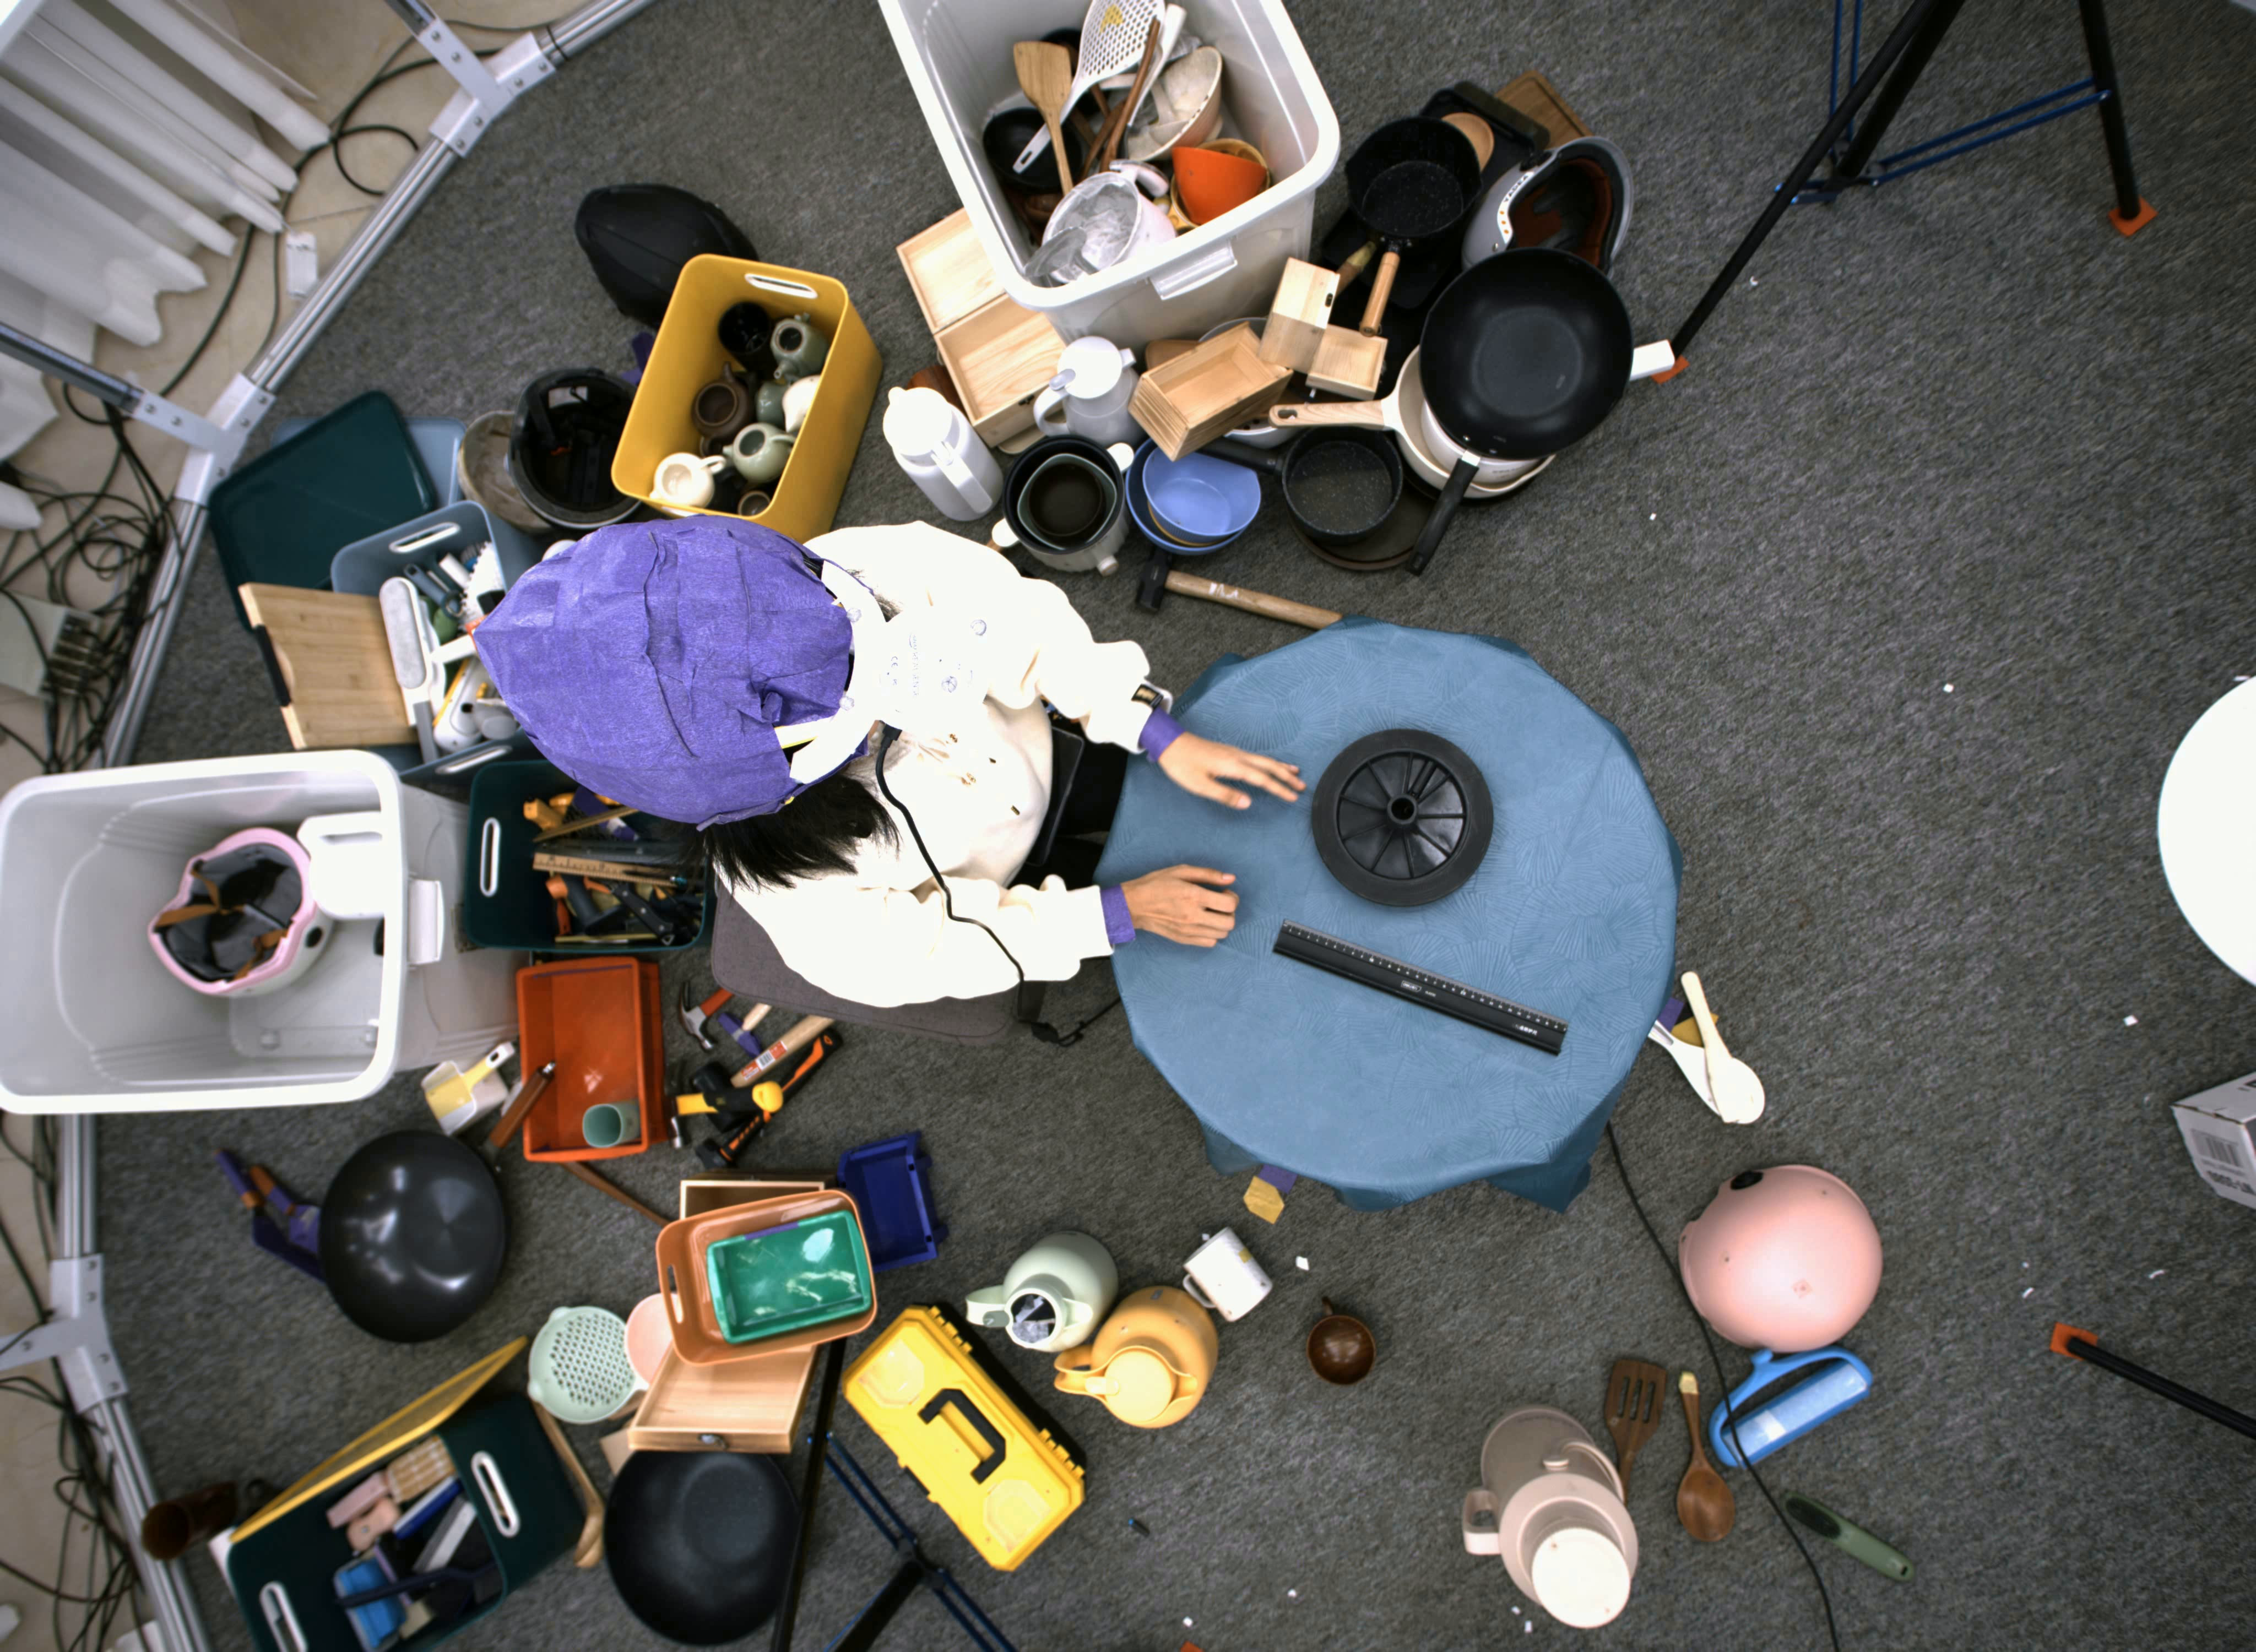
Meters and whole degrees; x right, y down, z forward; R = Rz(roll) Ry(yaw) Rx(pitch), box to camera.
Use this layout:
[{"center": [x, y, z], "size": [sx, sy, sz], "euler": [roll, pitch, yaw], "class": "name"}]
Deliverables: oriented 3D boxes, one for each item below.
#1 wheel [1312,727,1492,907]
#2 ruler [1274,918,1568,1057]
[{"center": [0.283, -0.014, 1.424], "size": [0.188, 0.079, 0.189], "euler": [7, 86, 11], "class": "wheel"}, {"center": [0.304, 0.165, 1.441], "size": [0.312, 0.017, 0.039], "euler": [20, 86, 11], "class": "ruler"}]
